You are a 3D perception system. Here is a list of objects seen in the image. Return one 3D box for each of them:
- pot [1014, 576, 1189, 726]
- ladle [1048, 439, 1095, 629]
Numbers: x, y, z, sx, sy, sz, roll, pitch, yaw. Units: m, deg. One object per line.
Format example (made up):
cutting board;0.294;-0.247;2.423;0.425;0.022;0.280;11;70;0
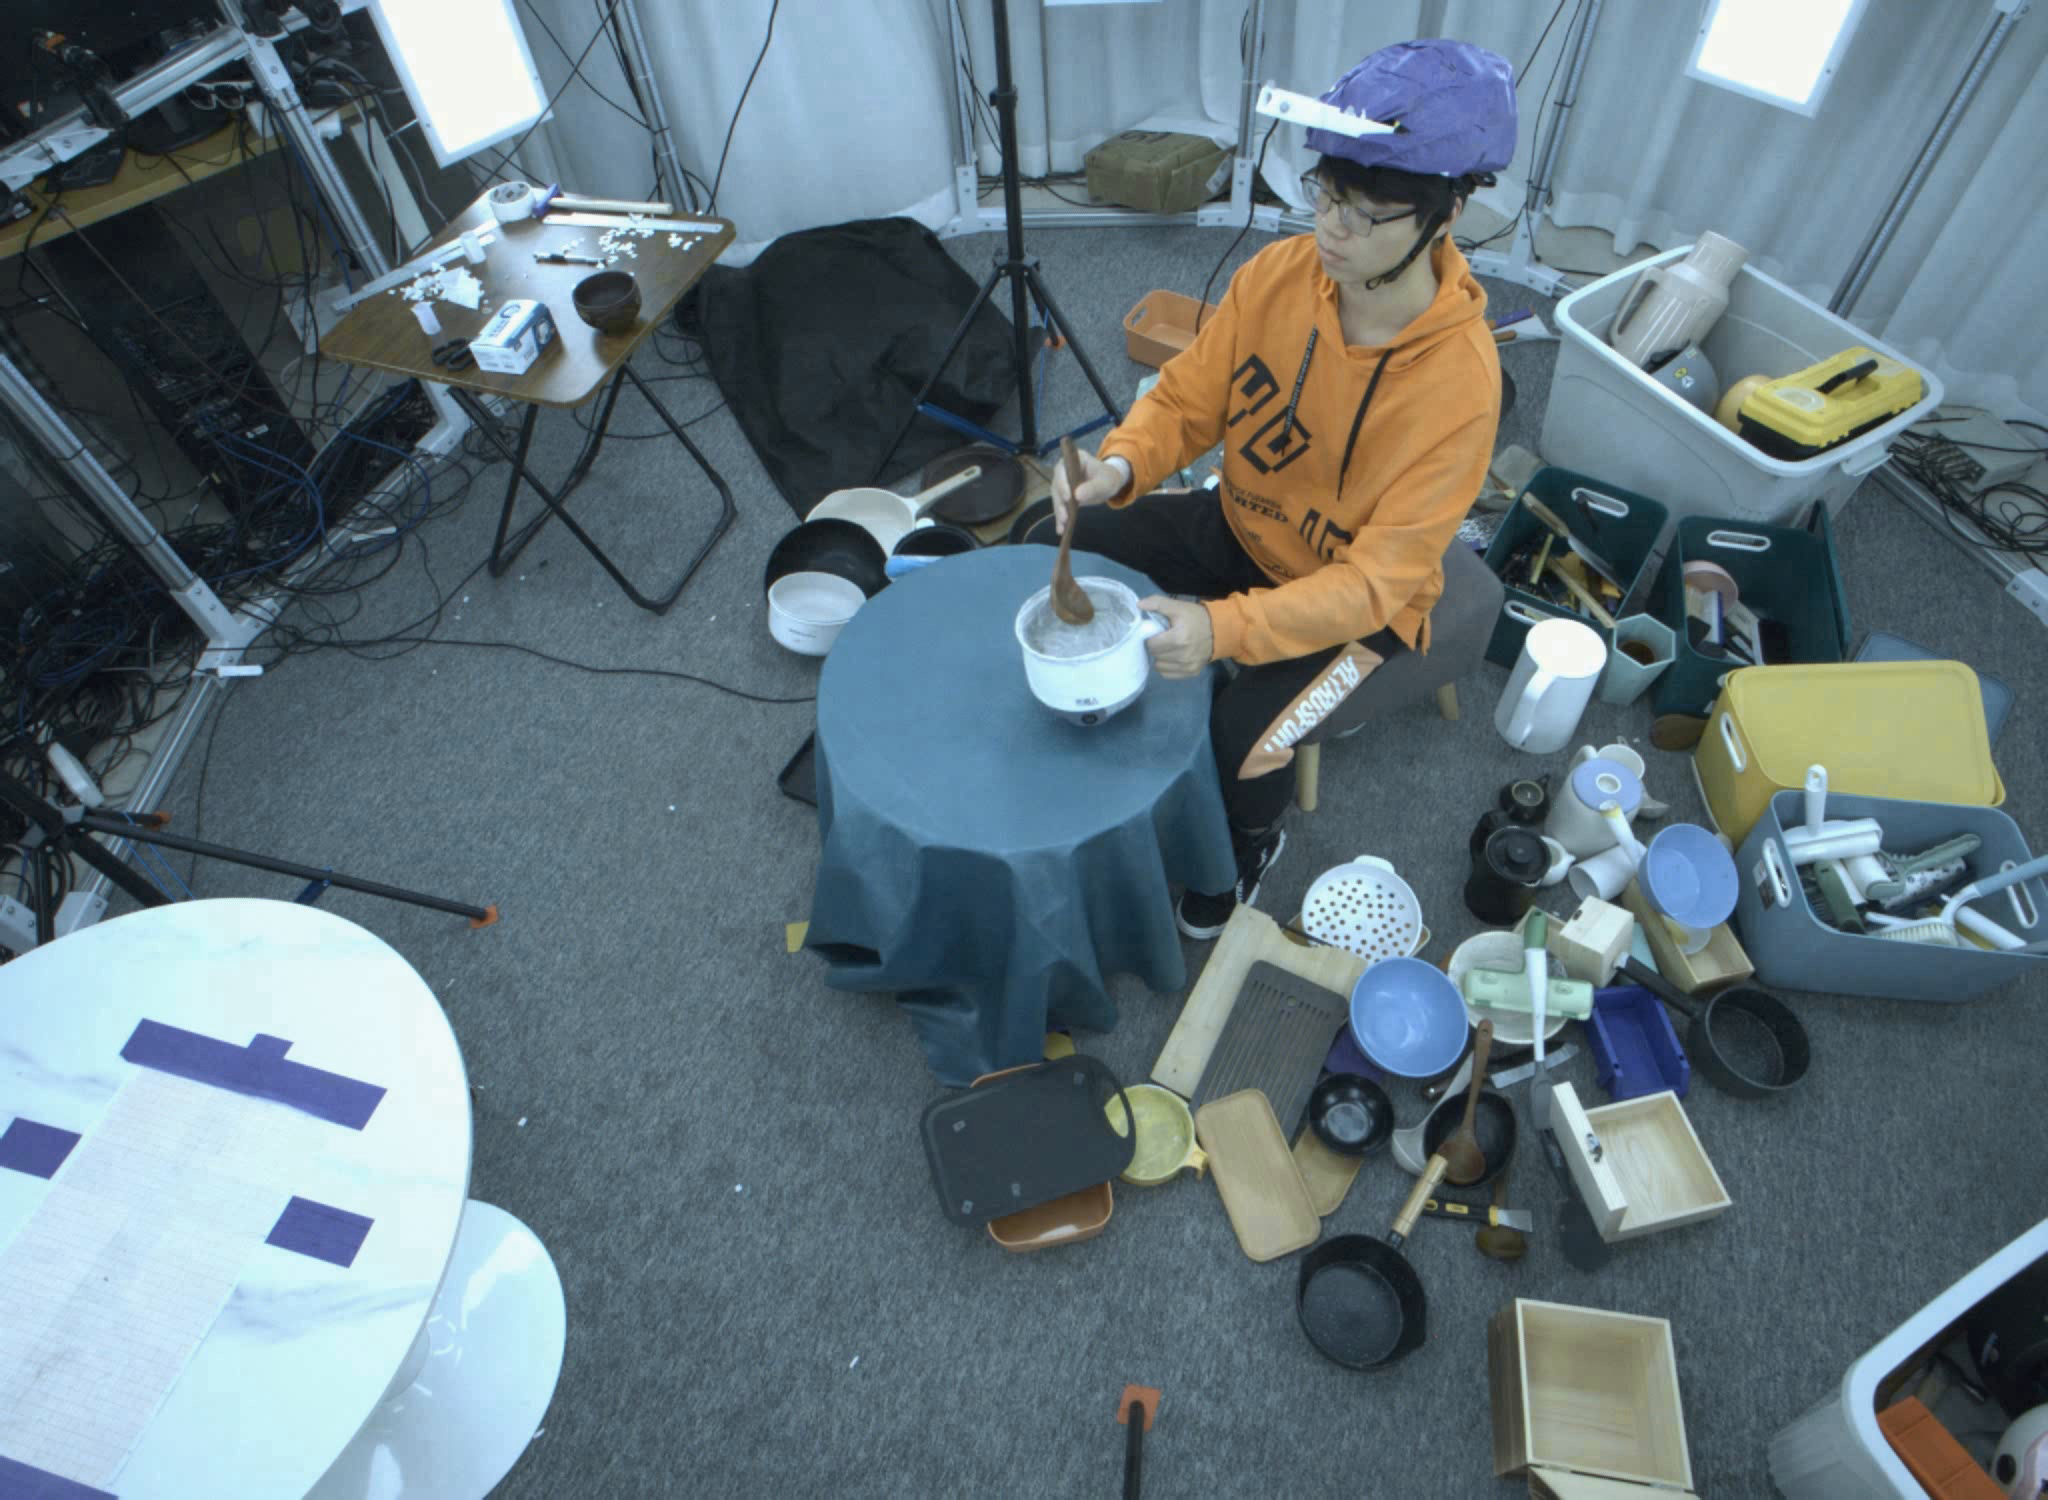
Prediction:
pot;0.113;-0.144;1.740;0.232;0.139;0.177;-7;48;8
ladle;0.070;-0.298;1.688;0.064;0.261;0.078;13;16;35
